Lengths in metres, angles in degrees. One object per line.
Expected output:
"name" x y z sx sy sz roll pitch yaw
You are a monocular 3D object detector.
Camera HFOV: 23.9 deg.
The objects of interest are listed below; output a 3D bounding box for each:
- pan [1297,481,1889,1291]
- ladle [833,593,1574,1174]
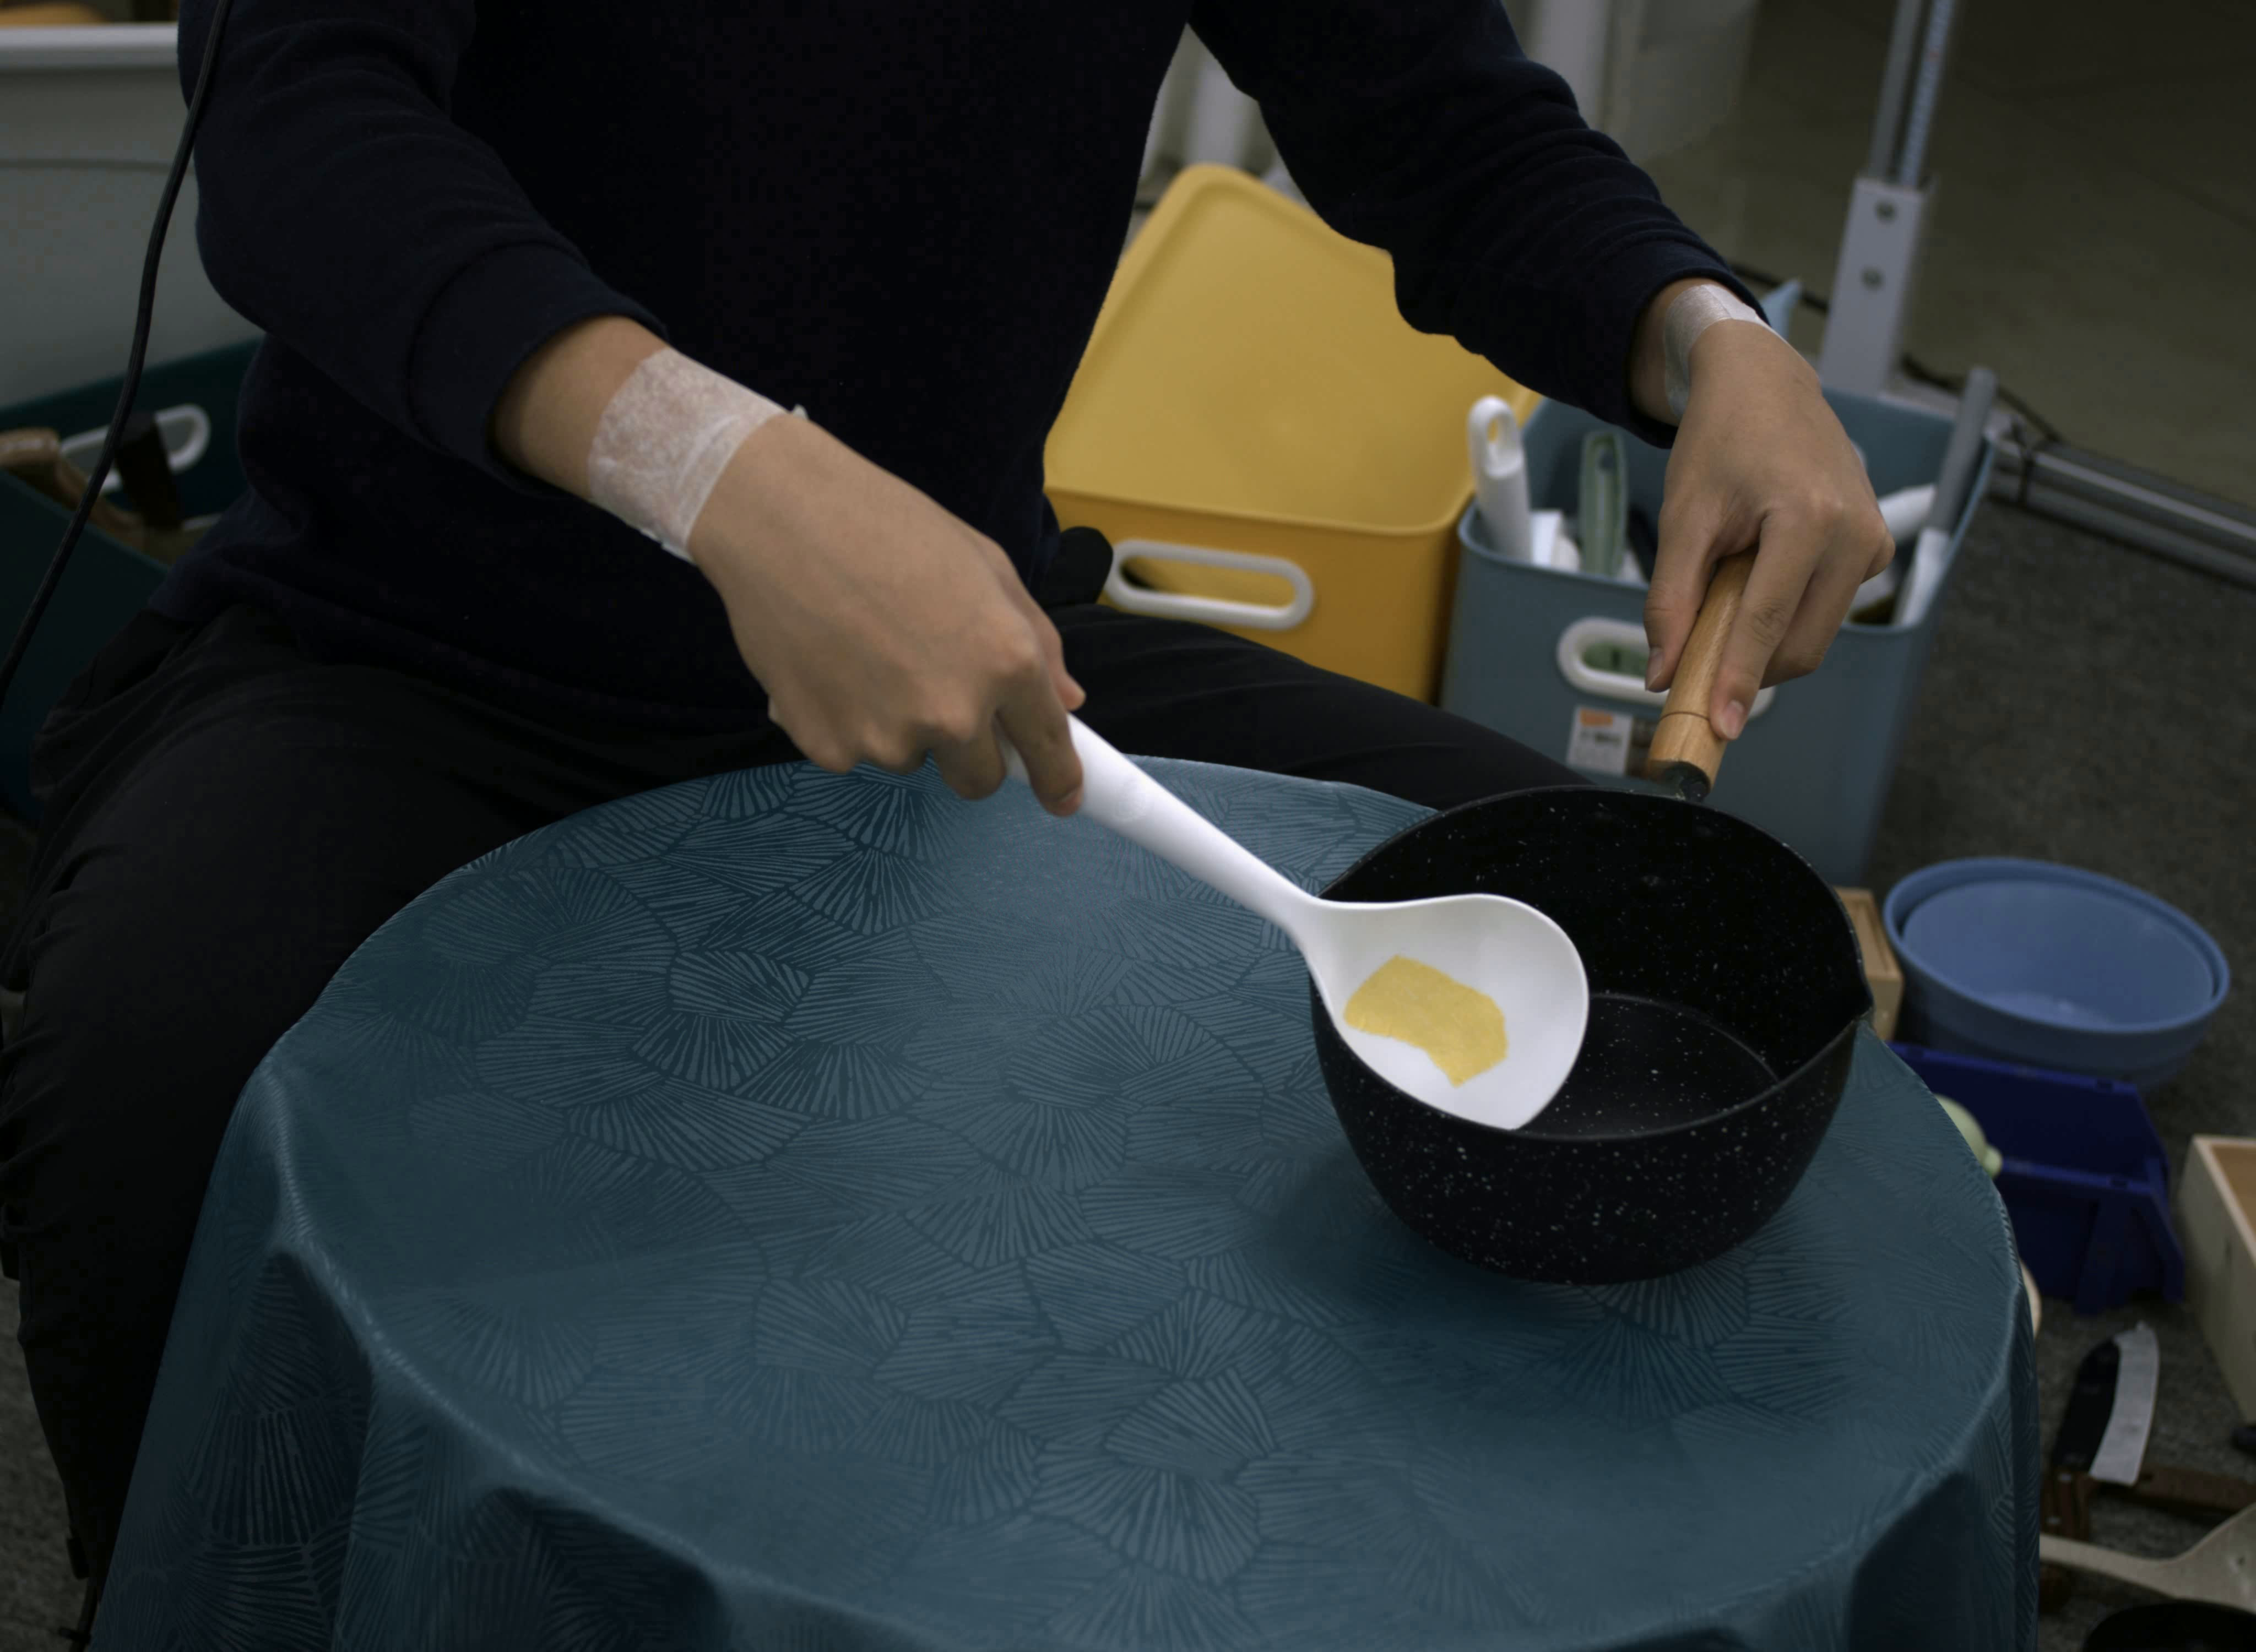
"pan" 0.179 0.018 1.855 0.208 0.107 0.344 8 42 17
"ladle" 0.025 0.017 1.708 0.290 0.090 0.070 35 6 -34
